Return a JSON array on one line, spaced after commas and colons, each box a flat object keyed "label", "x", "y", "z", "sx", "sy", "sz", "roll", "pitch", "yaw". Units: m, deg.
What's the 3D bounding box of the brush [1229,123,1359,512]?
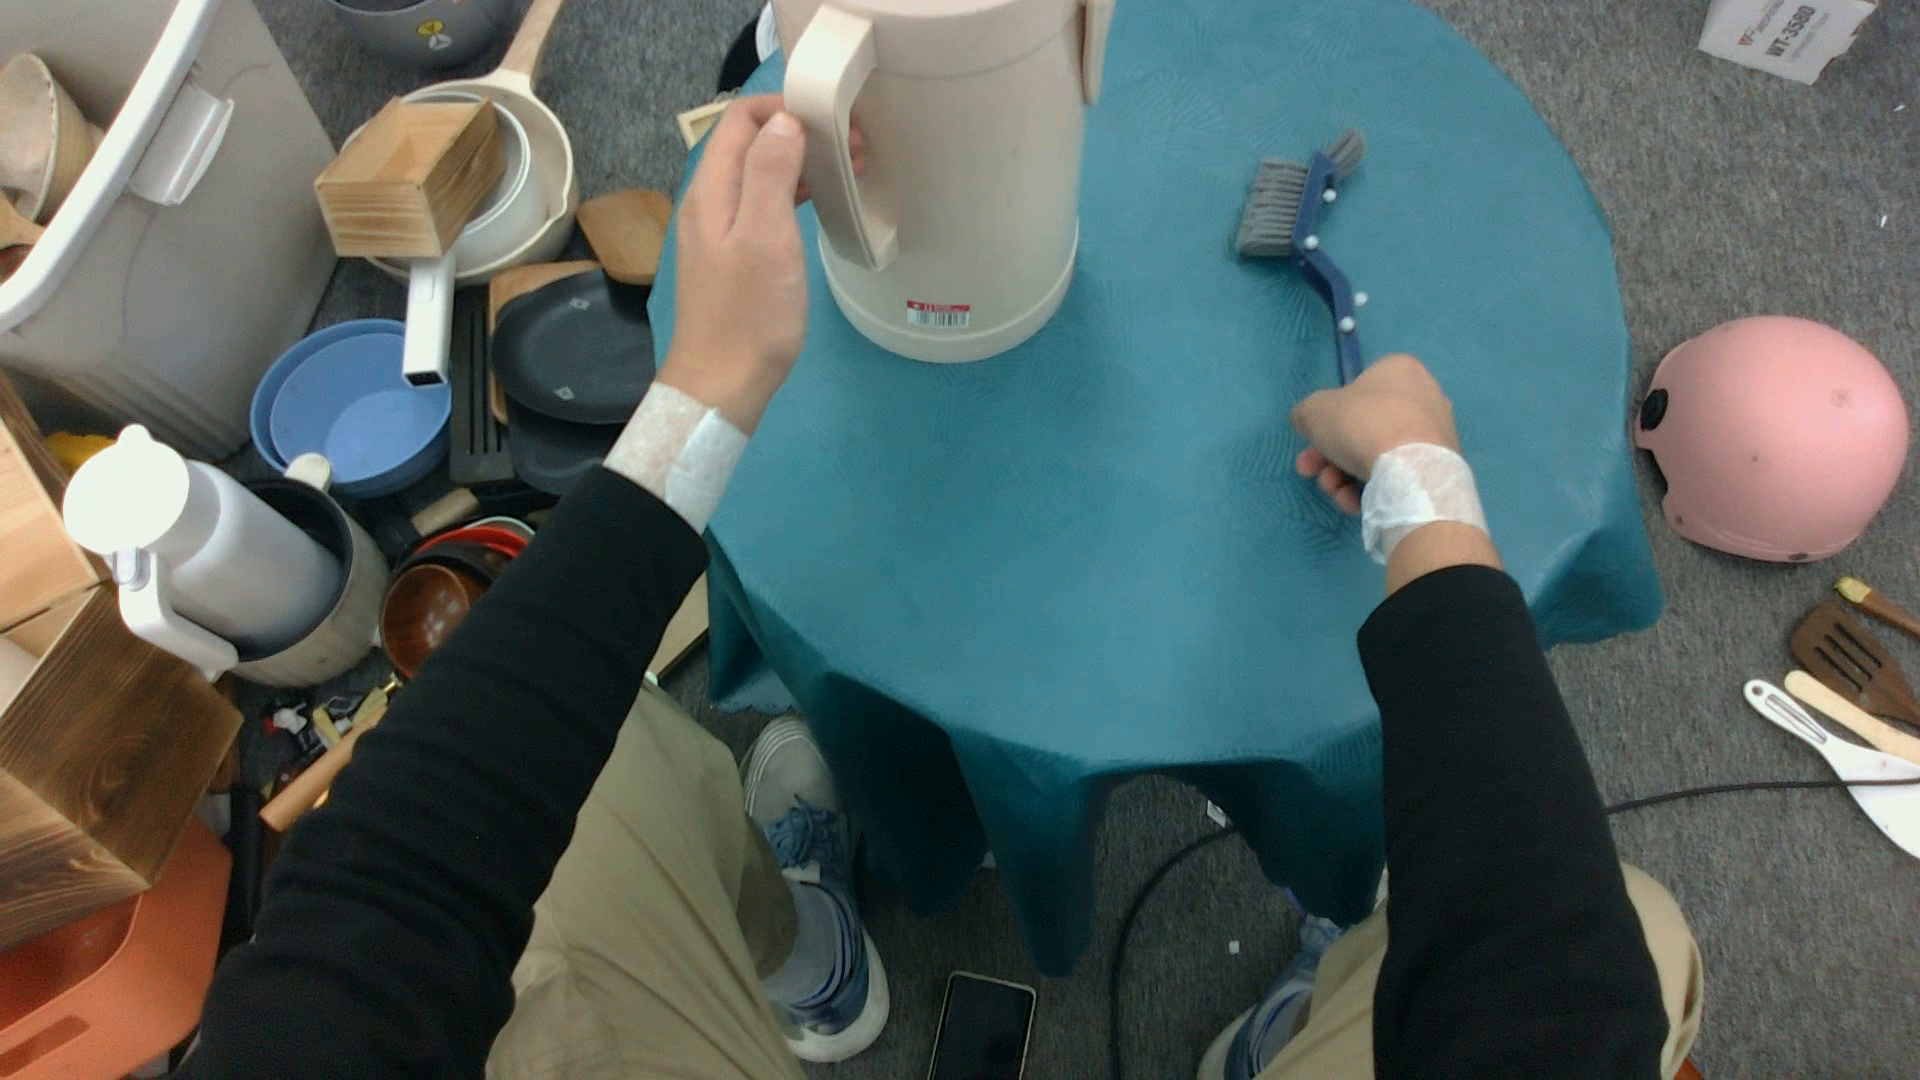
[{"label": "brush", "x": 0.222, "y": -0.141, "z": 0.807, "sx": 0.095, "sy": 0.033, "sz": 0.274, "roll": -11, "pitch": 57, "yaw": 4}]

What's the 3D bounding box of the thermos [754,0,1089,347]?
[{"label": "thermos", "x": -0.028, "y": -0.247, "z": 0.676, "sx": 0.175, "sy": 0.405, "sz": 0.208, "roll": 24, "pitch": 71, "yaw": 7}]
